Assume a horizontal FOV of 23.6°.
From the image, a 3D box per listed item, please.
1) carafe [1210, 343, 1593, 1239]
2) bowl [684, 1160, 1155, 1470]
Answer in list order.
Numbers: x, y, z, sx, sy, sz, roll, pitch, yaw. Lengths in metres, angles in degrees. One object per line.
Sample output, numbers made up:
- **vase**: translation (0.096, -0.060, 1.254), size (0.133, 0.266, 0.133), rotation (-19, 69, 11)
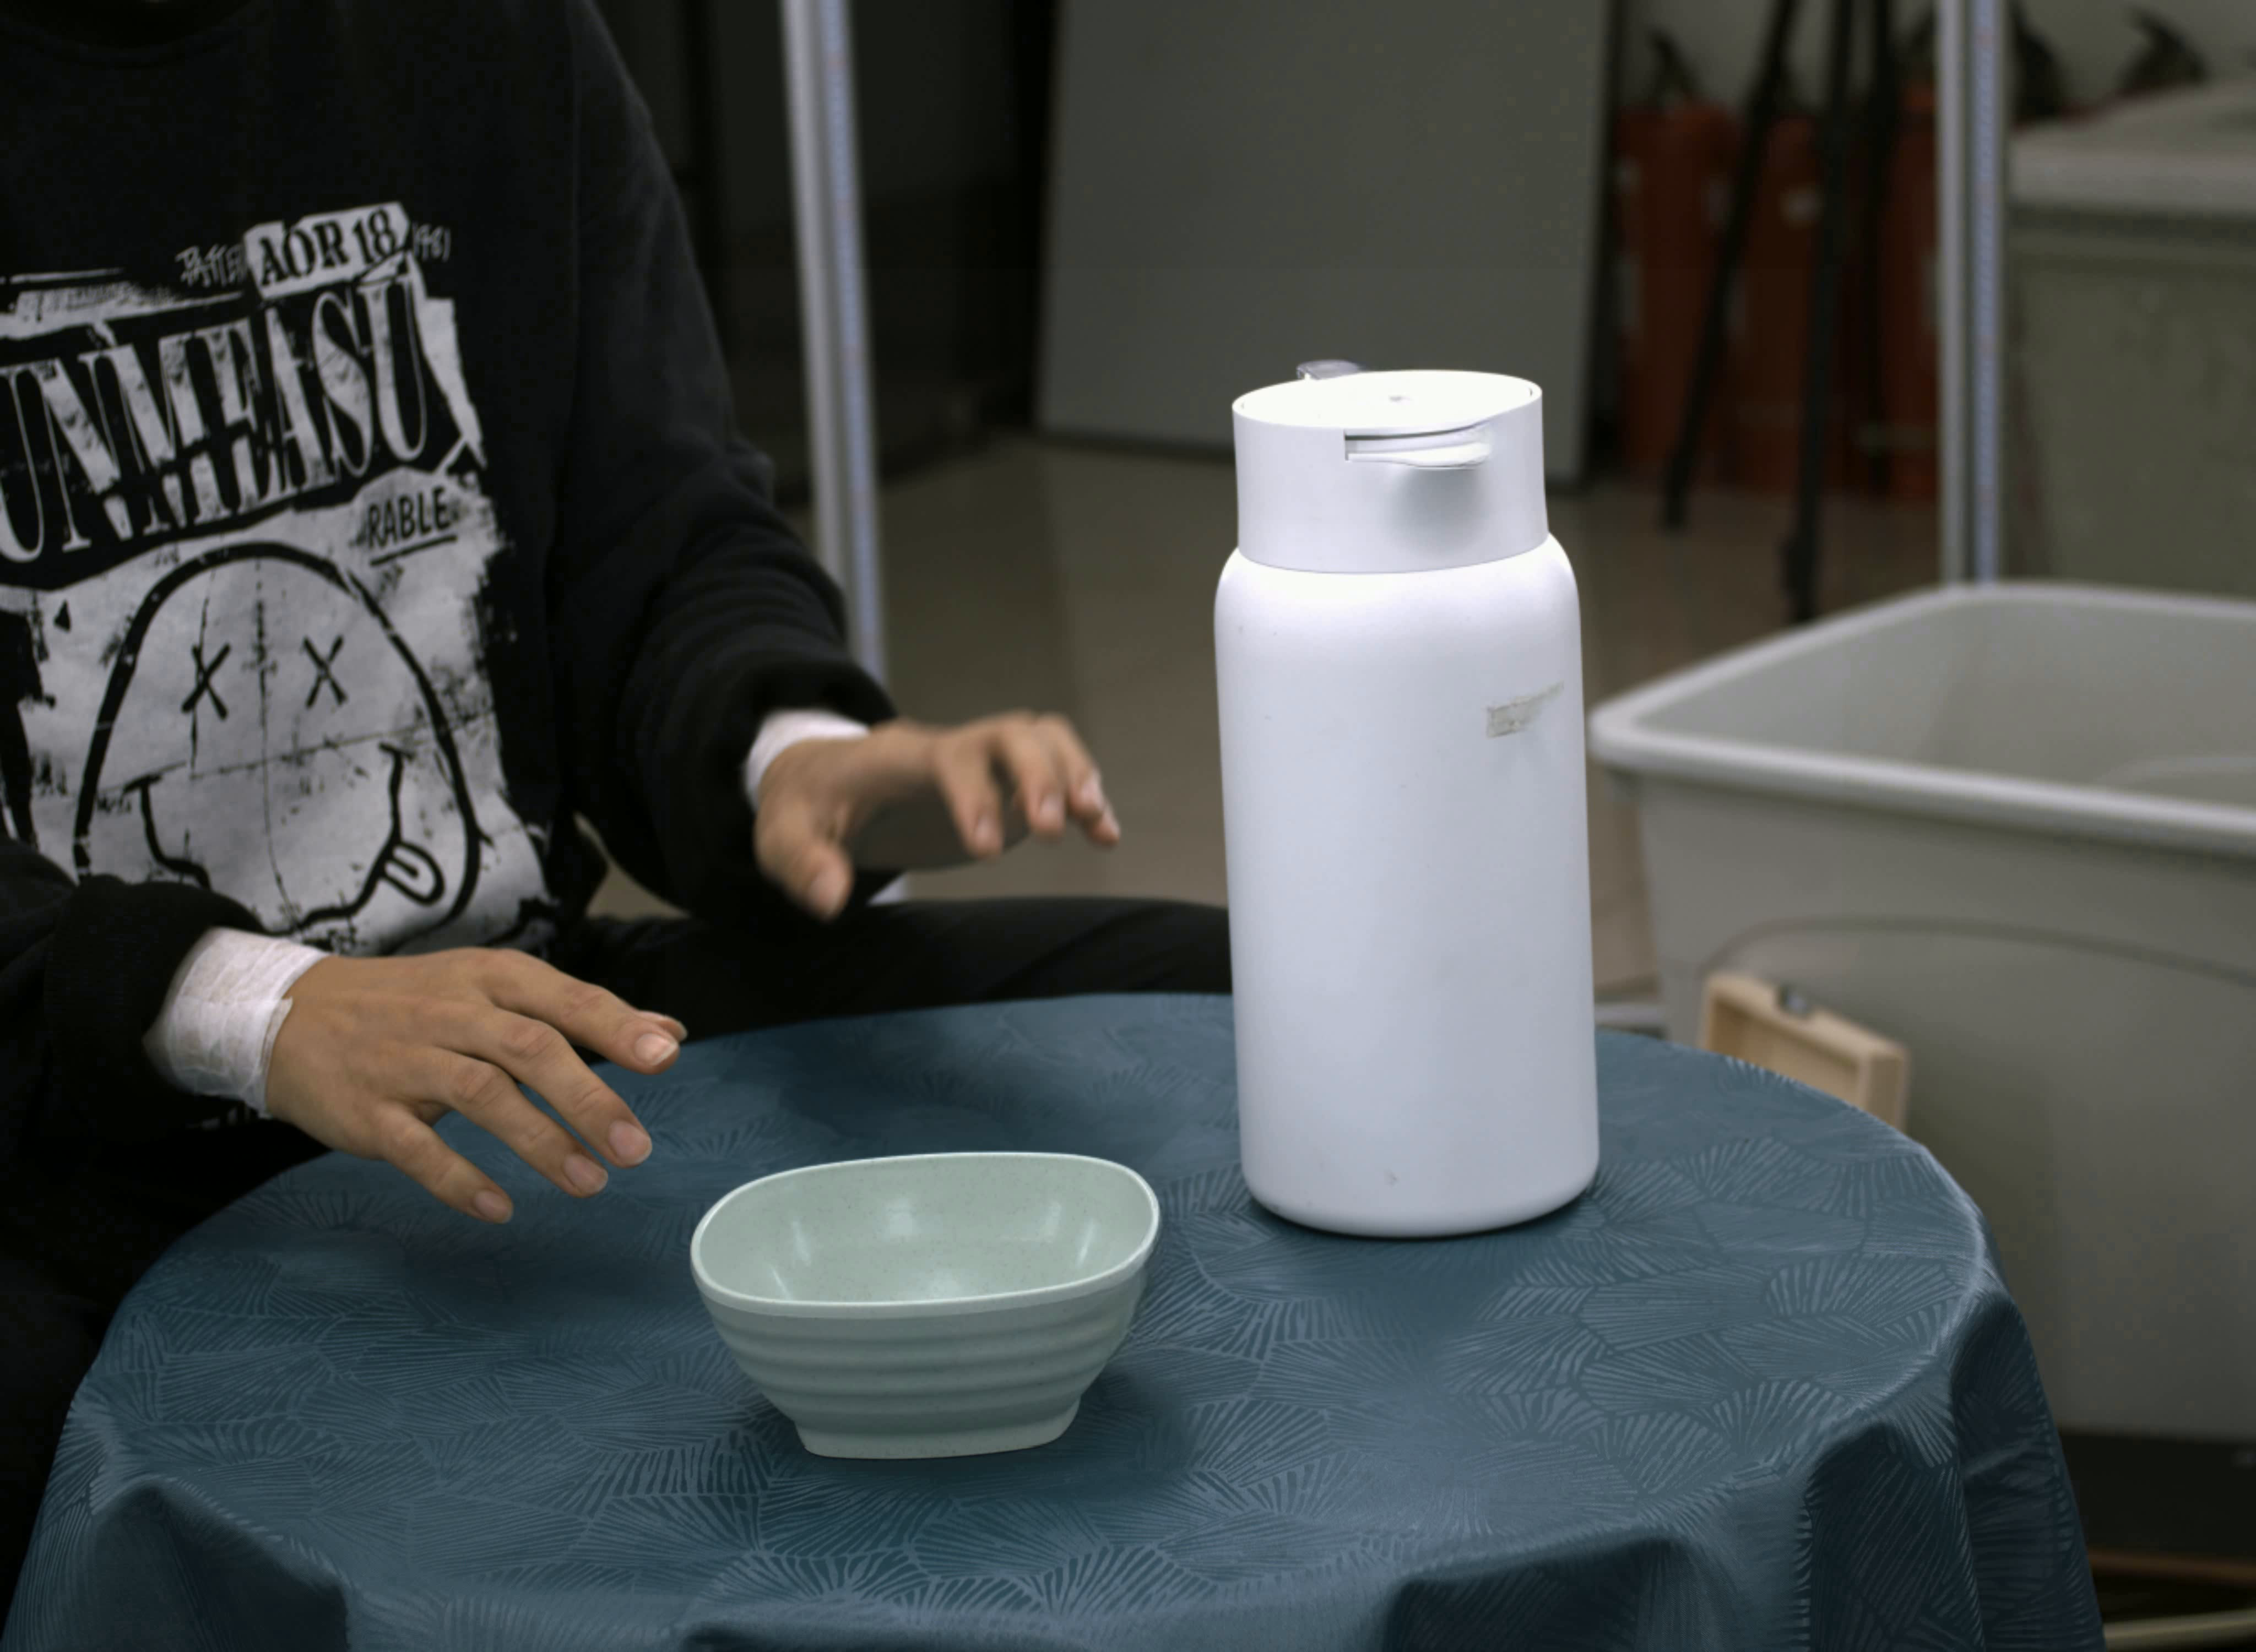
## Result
- **carafe**: translation (0.081, -0.015, 1.738), size (0.121, 0.272, 0.174), rotation (-9, 14, -14)
- **bowl**: translation (-0.059, 0.146, 1.581), size (0.149, 0.059, 0.152), rotation (-4, 14, 0)
